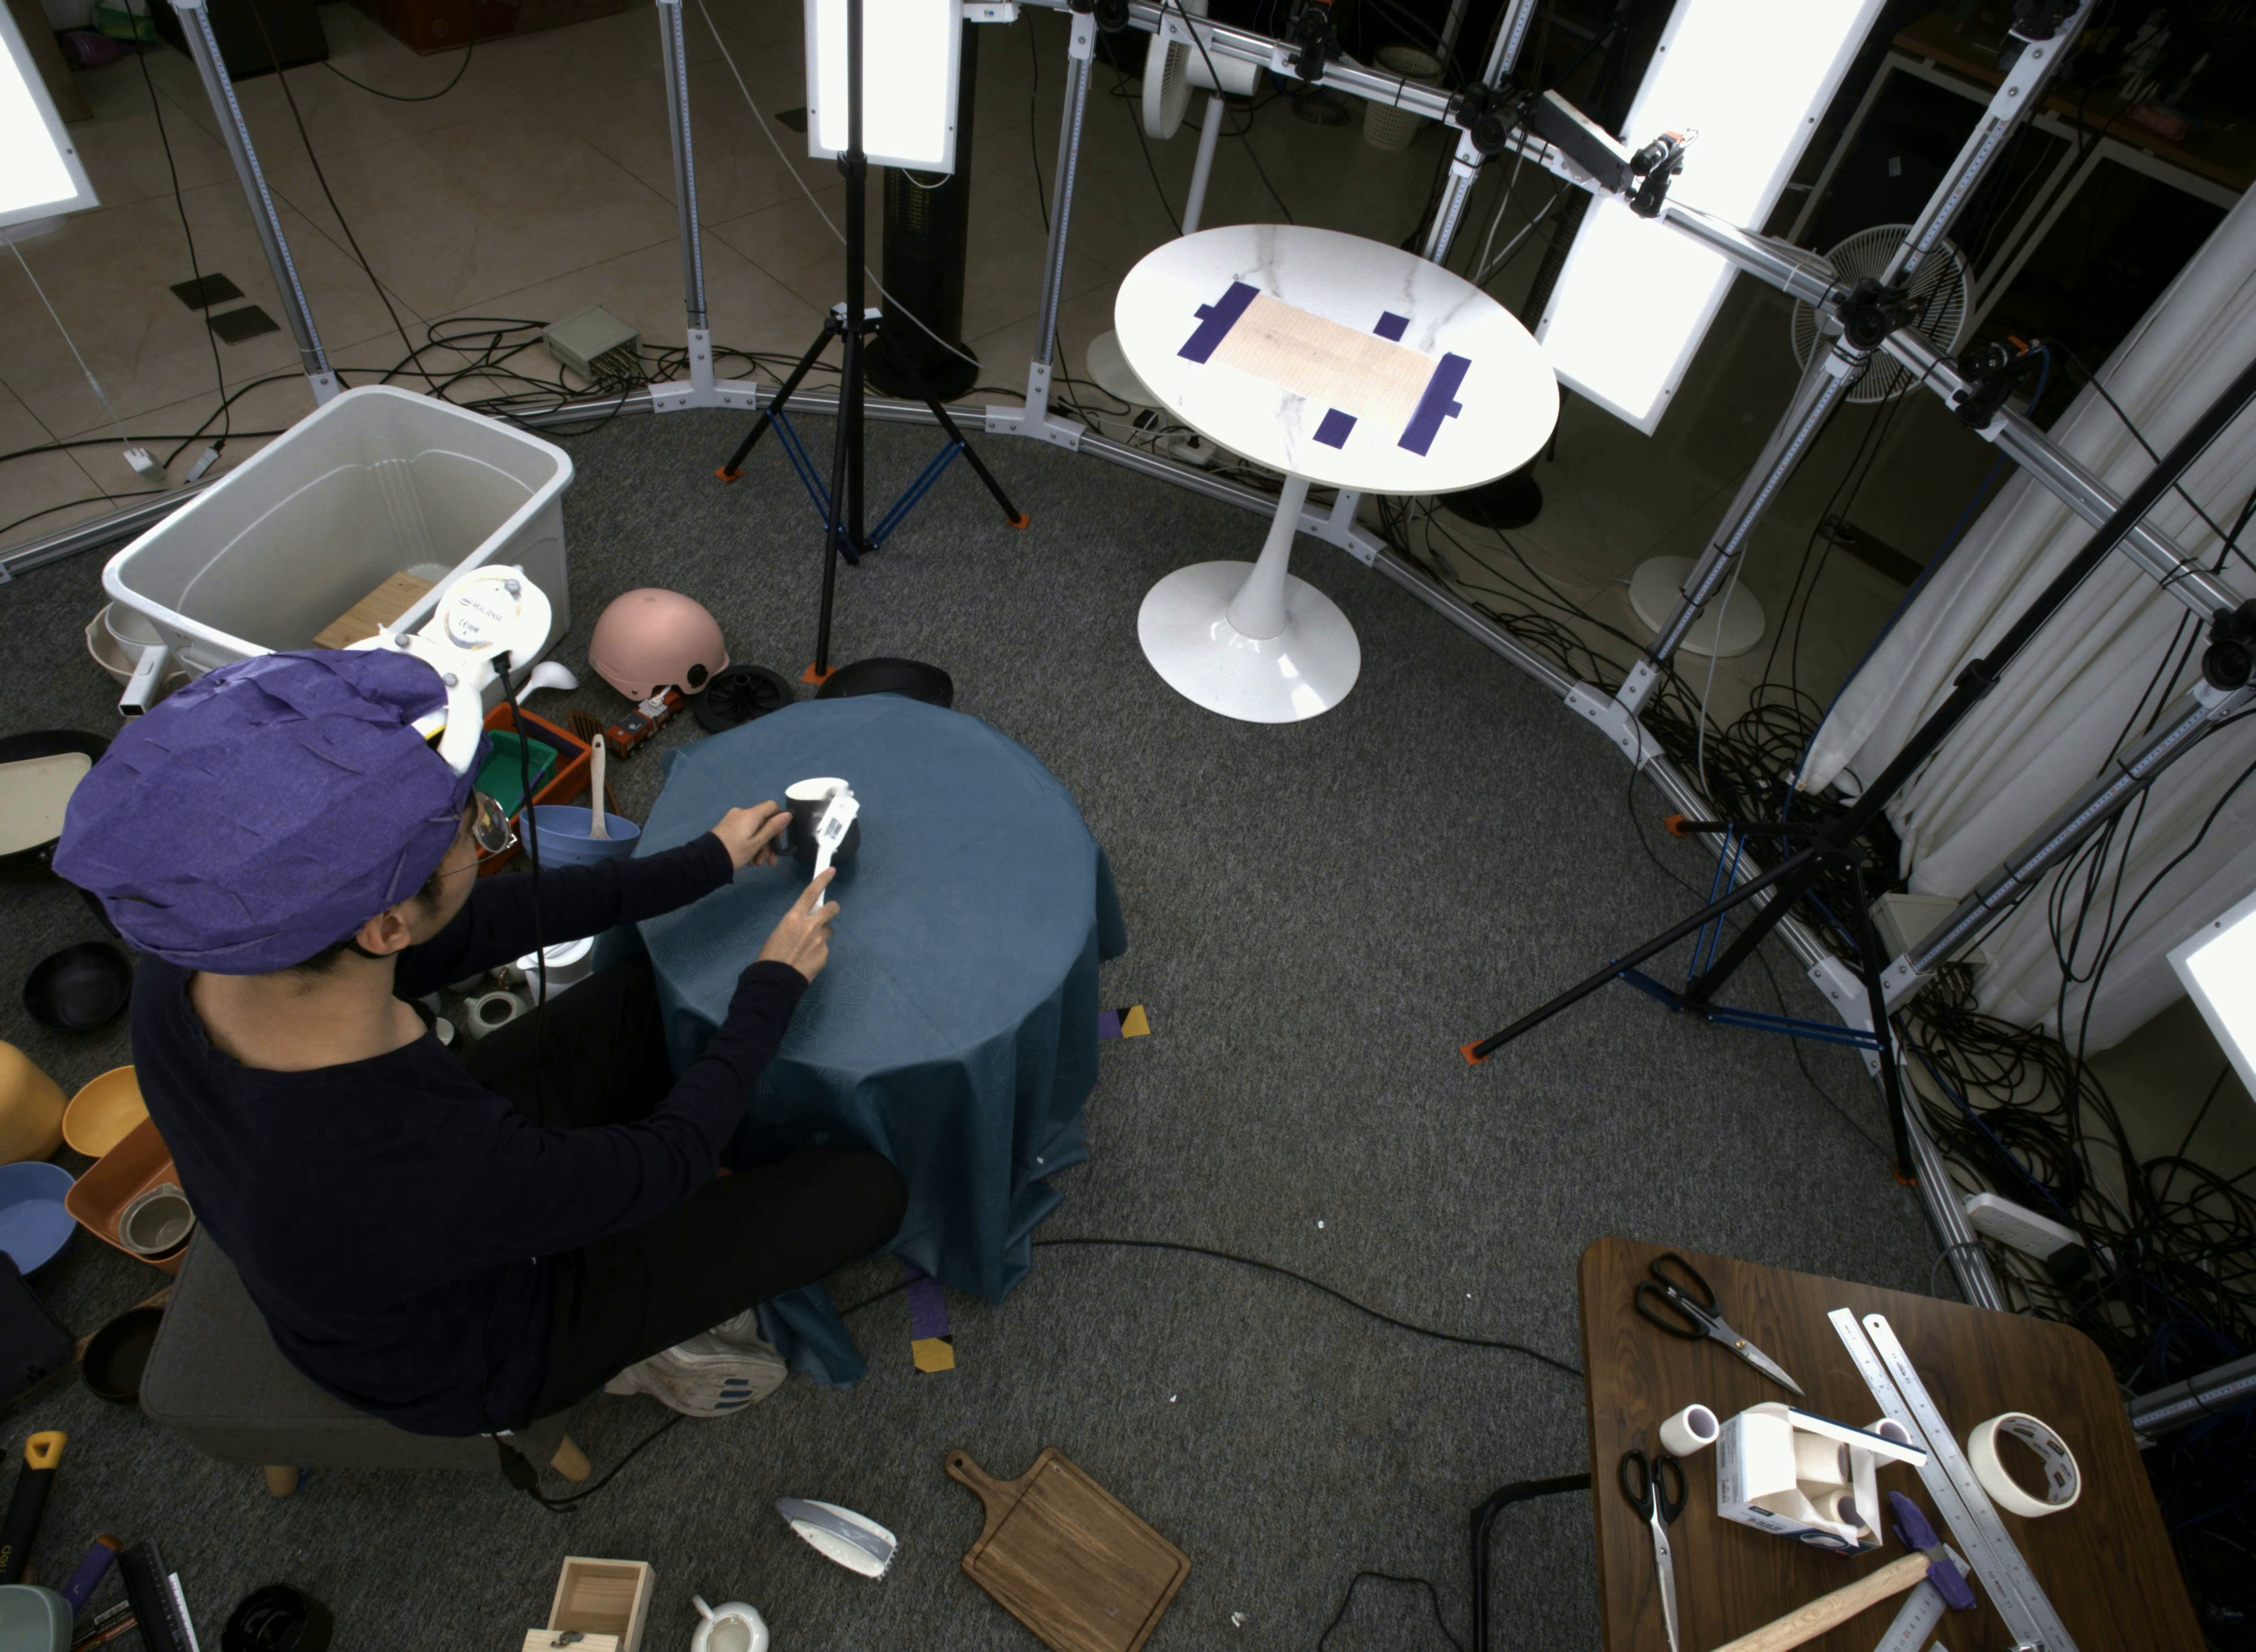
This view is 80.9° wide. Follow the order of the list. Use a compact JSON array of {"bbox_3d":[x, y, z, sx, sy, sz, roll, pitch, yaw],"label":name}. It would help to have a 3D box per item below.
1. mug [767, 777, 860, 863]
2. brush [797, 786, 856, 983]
[{"bbox_3d":[-0.404,-0.005,1.653,0.090,0.092,0.124,18,28,40],"label":"mug"},{"bbox_3d":[-0.380,0.068,1.578,0.048,0.035,0.243,-1,72,34],"label":"brush"}]
